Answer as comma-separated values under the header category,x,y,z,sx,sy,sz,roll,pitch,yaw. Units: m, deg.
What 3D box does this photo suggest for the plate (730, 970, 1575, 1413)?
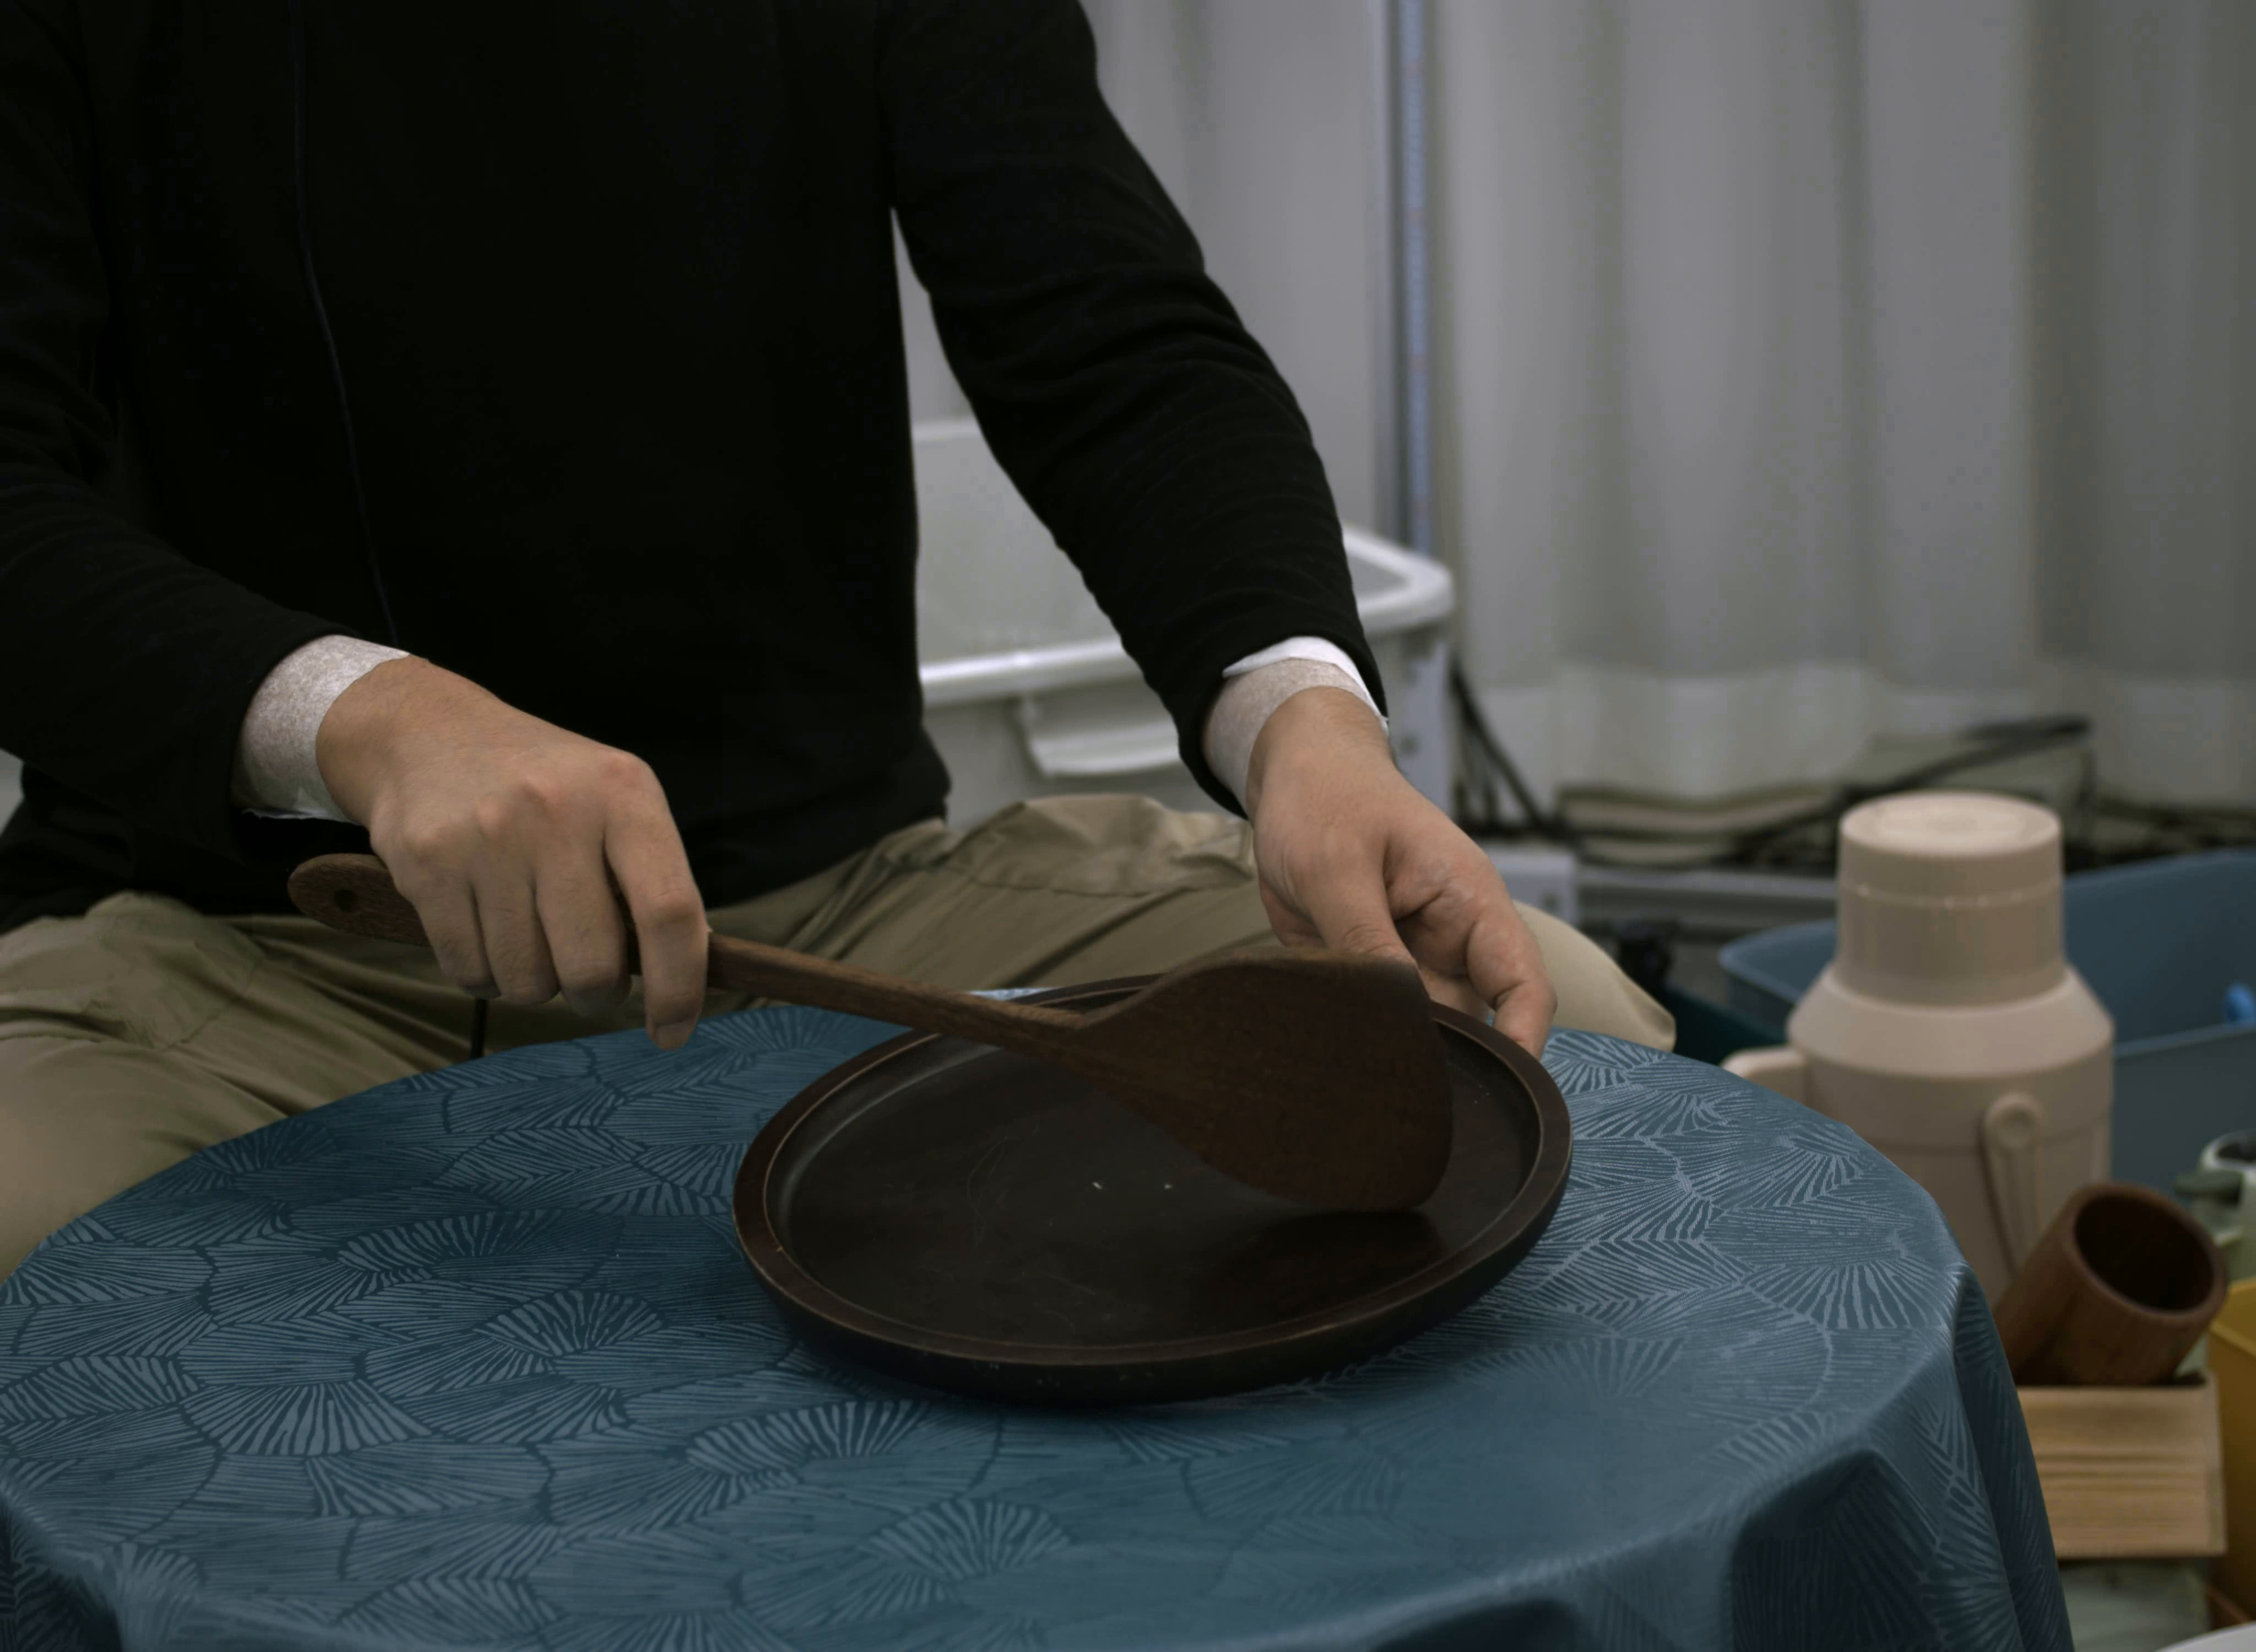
category,x,y,z,sx,sy,sz,roll,pitch,yaw
plate,0.007,0.106,1.630,0.254,0.029,0.257,-6,25,2

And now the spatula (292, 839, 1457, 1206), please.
category,x,y,z,sx,sy,sz,roll,pitch,yaw
spatula,-0.083,0.046,1.638,0.387,0.095,0.016,10,37,22
